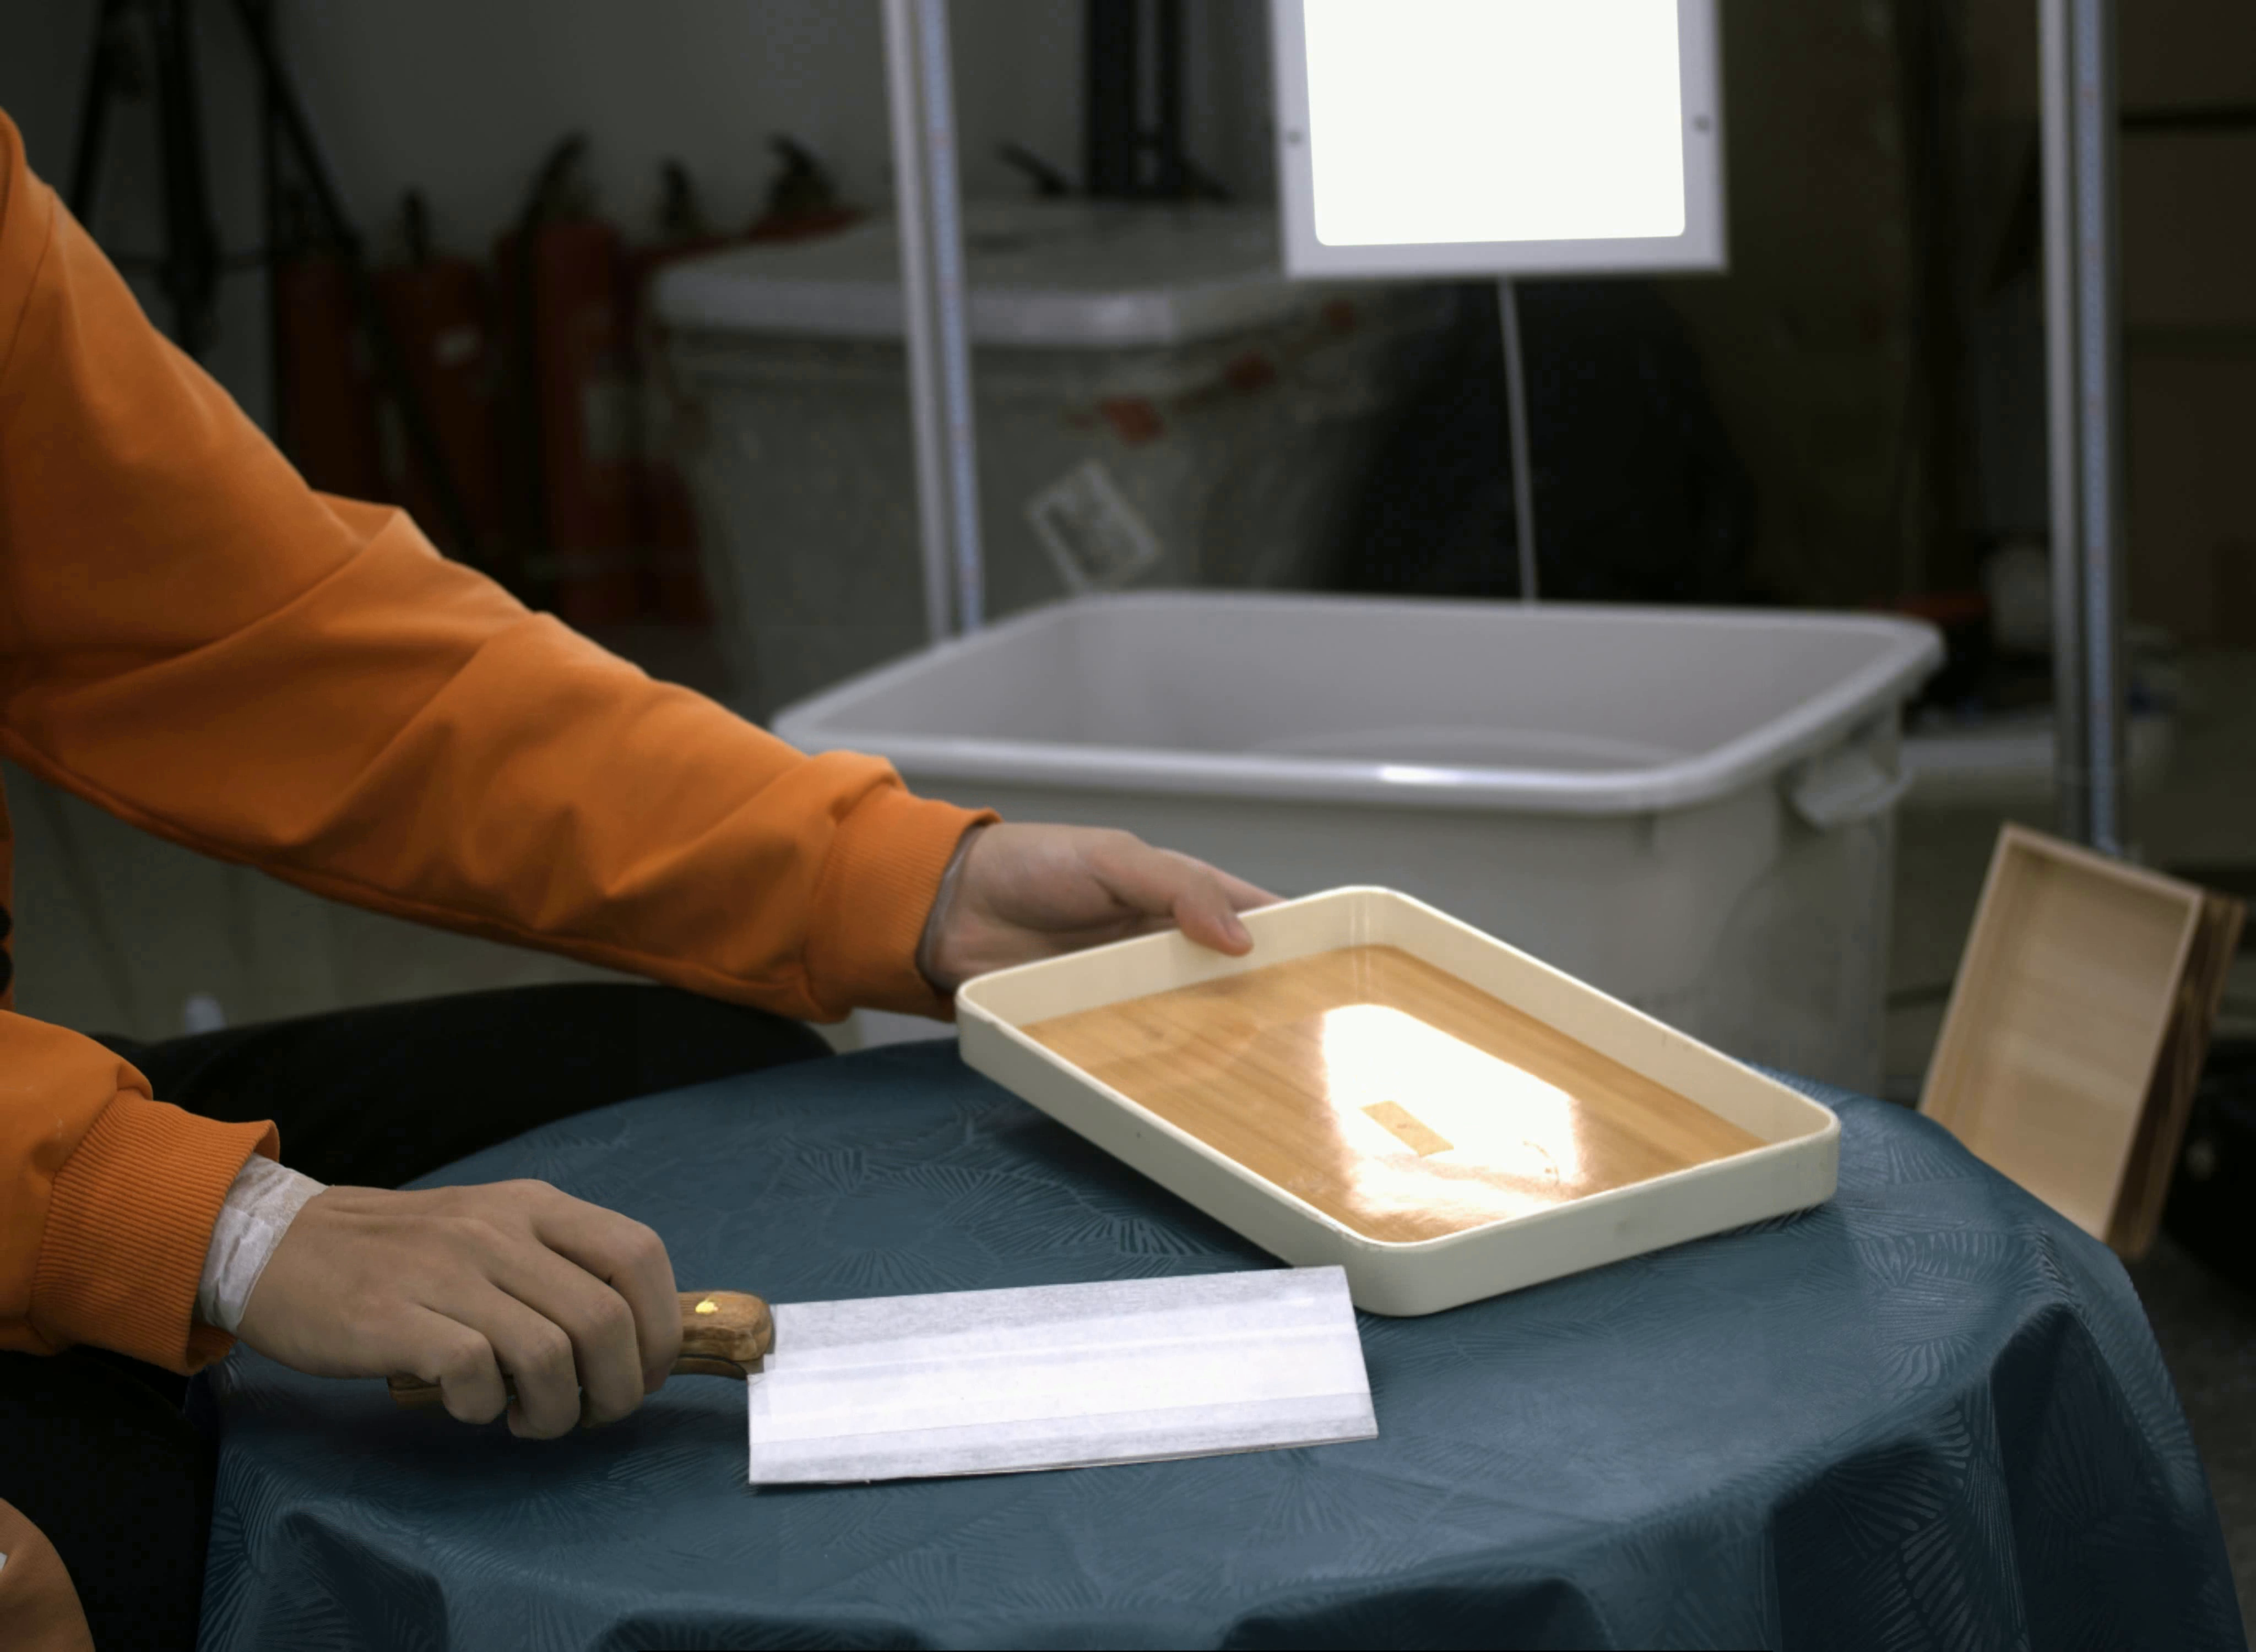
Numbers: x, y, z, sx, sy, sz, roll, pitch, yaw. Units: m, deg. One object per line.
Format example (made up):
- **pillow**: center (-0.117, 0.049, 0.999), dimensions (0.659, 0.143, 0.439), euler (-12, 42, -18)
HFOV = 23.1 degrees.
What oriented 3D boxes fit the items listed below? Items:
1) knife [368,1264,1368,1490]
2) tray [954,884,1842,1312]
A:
- **knife**: center (-0.080, 0.169, 1.679), dimensions (0.304, 0.021, 0.093), euler (-4, 32, -1)
- **tray**: center (0.088, 0.089, 1.898), dimensions (0.187, 0.027, 0.305), euler (-13, 22, -27)
